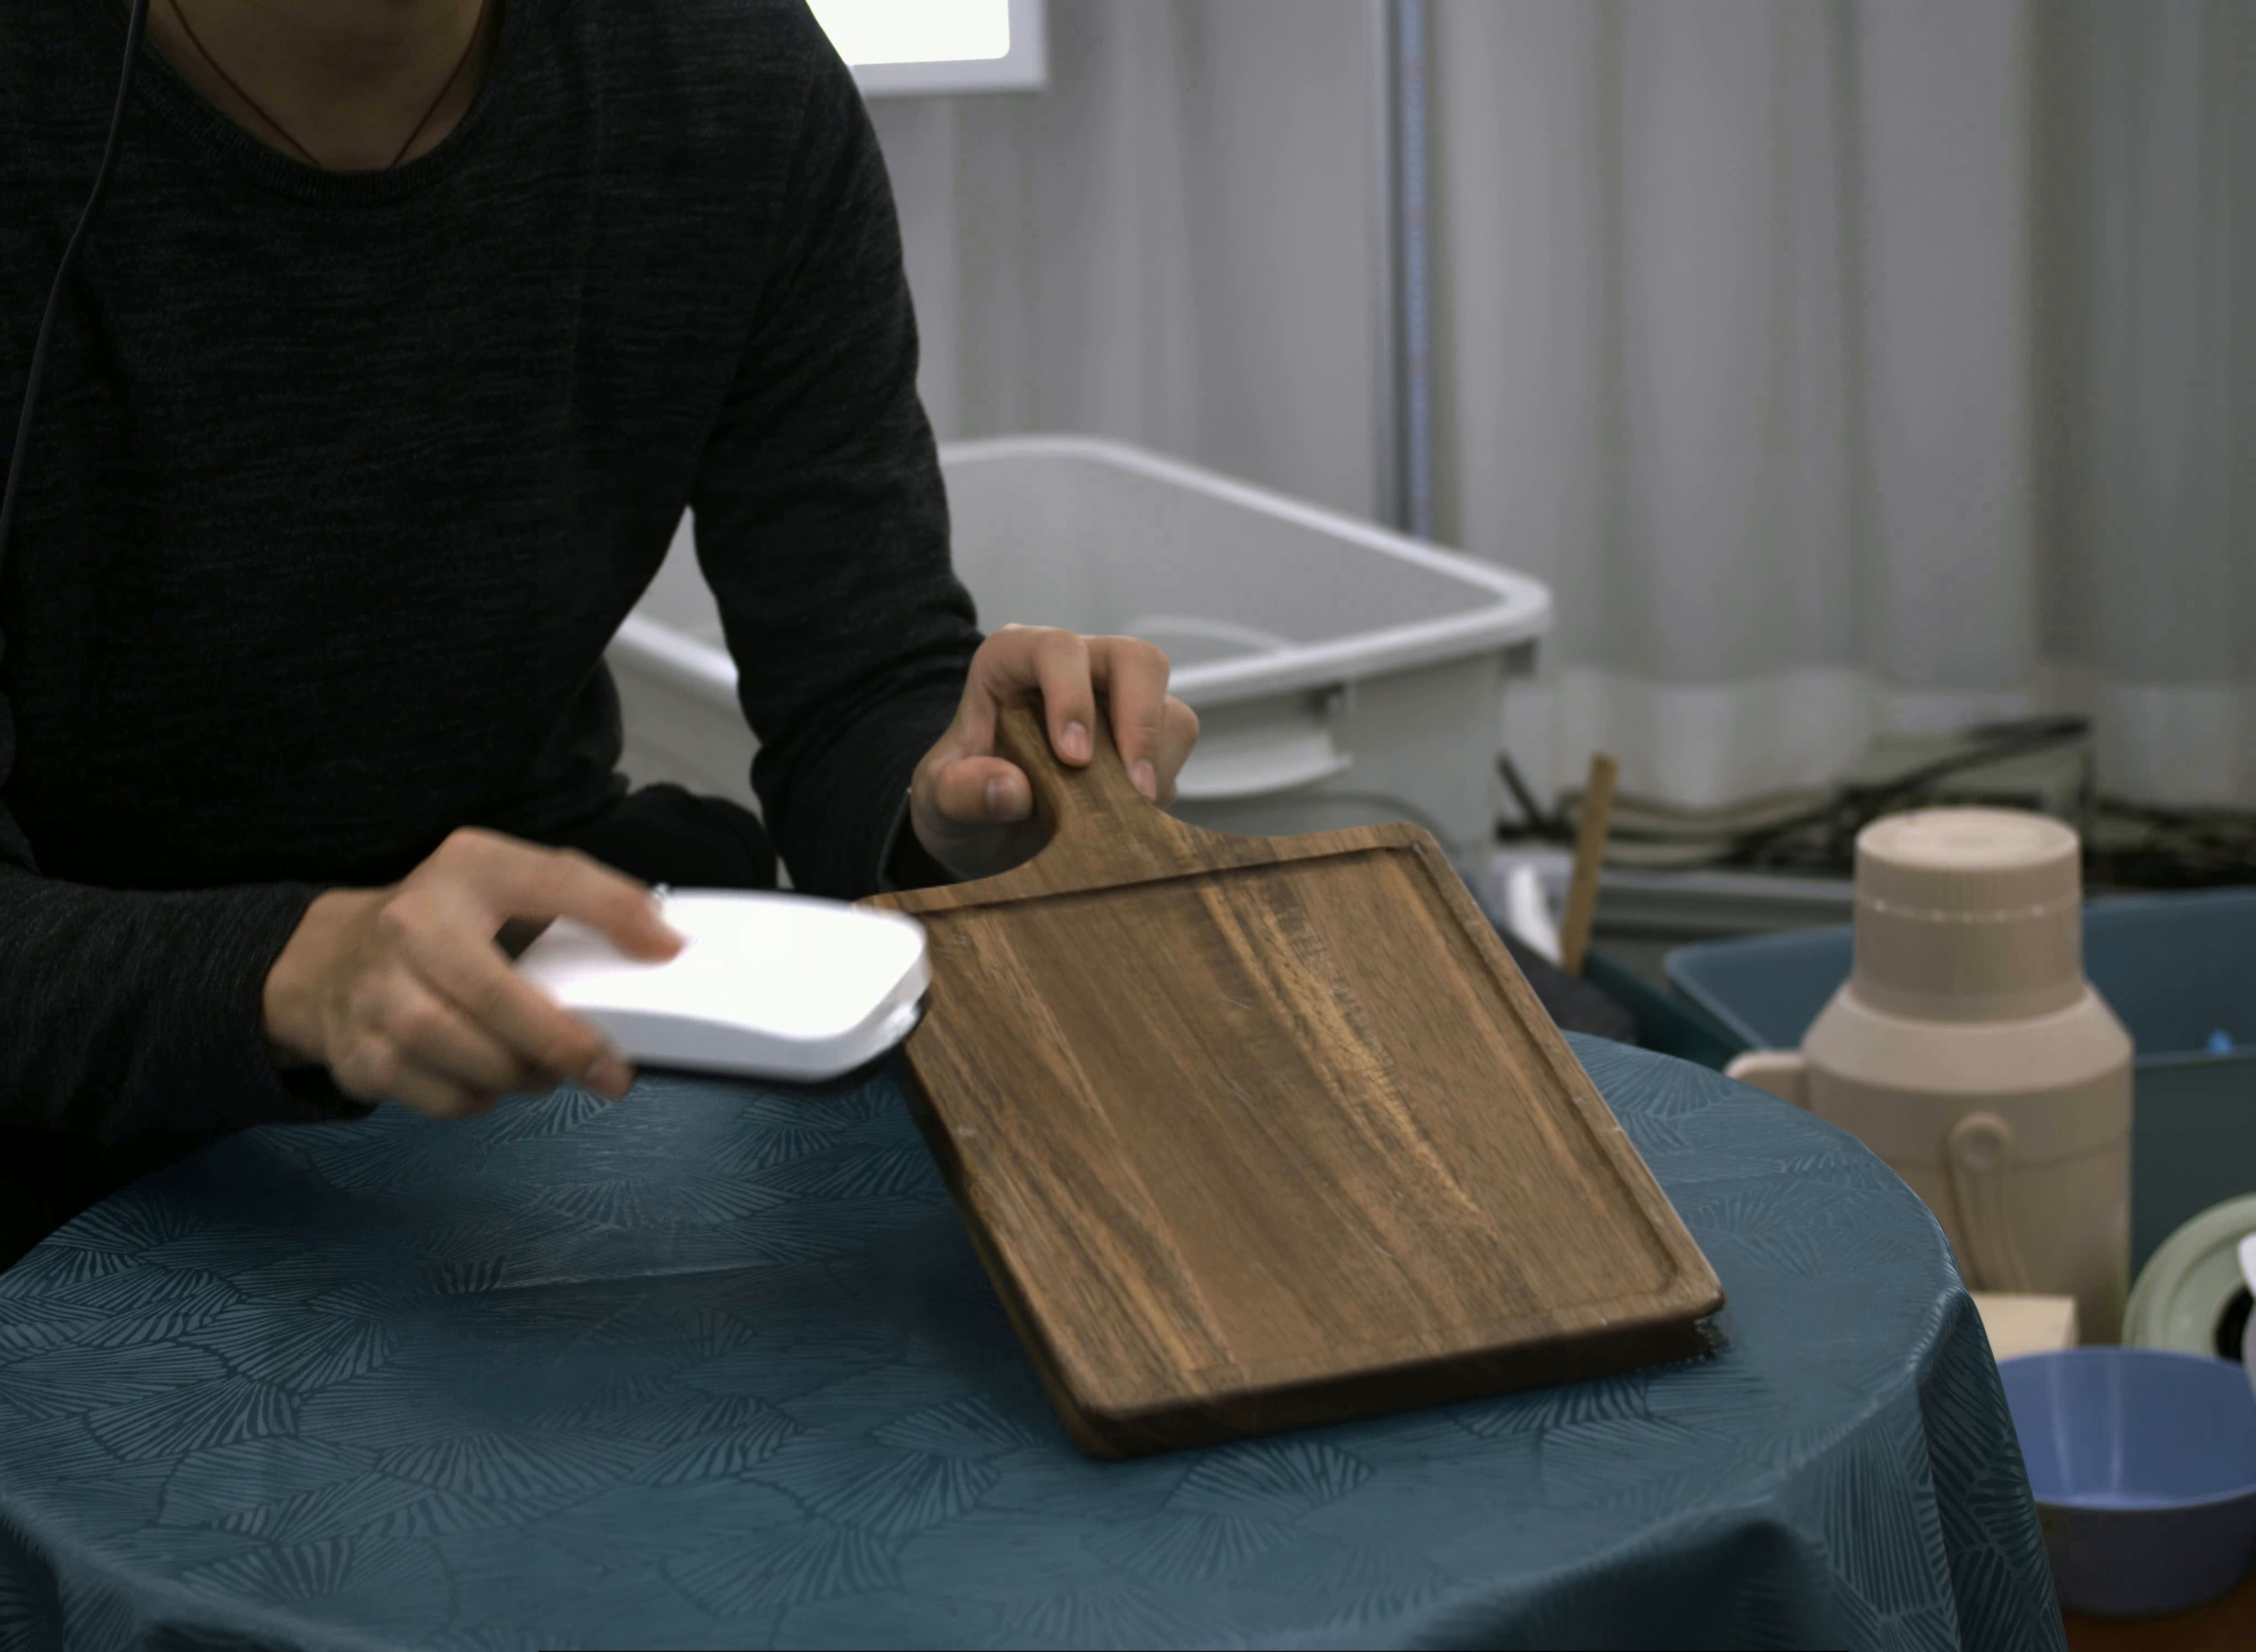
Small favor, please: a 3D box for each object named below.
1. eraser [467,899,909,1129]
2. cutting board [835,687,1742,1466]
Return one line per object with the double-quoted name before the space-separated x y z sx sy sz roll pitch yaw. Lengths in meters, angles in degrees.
"eraser" -0.127 0.054 1.589 0.132 0.034 0.064 7 34 32
"cutting board" 0.026 0.059 1.648 0.200 0.023 0.357 -8 36 -17
